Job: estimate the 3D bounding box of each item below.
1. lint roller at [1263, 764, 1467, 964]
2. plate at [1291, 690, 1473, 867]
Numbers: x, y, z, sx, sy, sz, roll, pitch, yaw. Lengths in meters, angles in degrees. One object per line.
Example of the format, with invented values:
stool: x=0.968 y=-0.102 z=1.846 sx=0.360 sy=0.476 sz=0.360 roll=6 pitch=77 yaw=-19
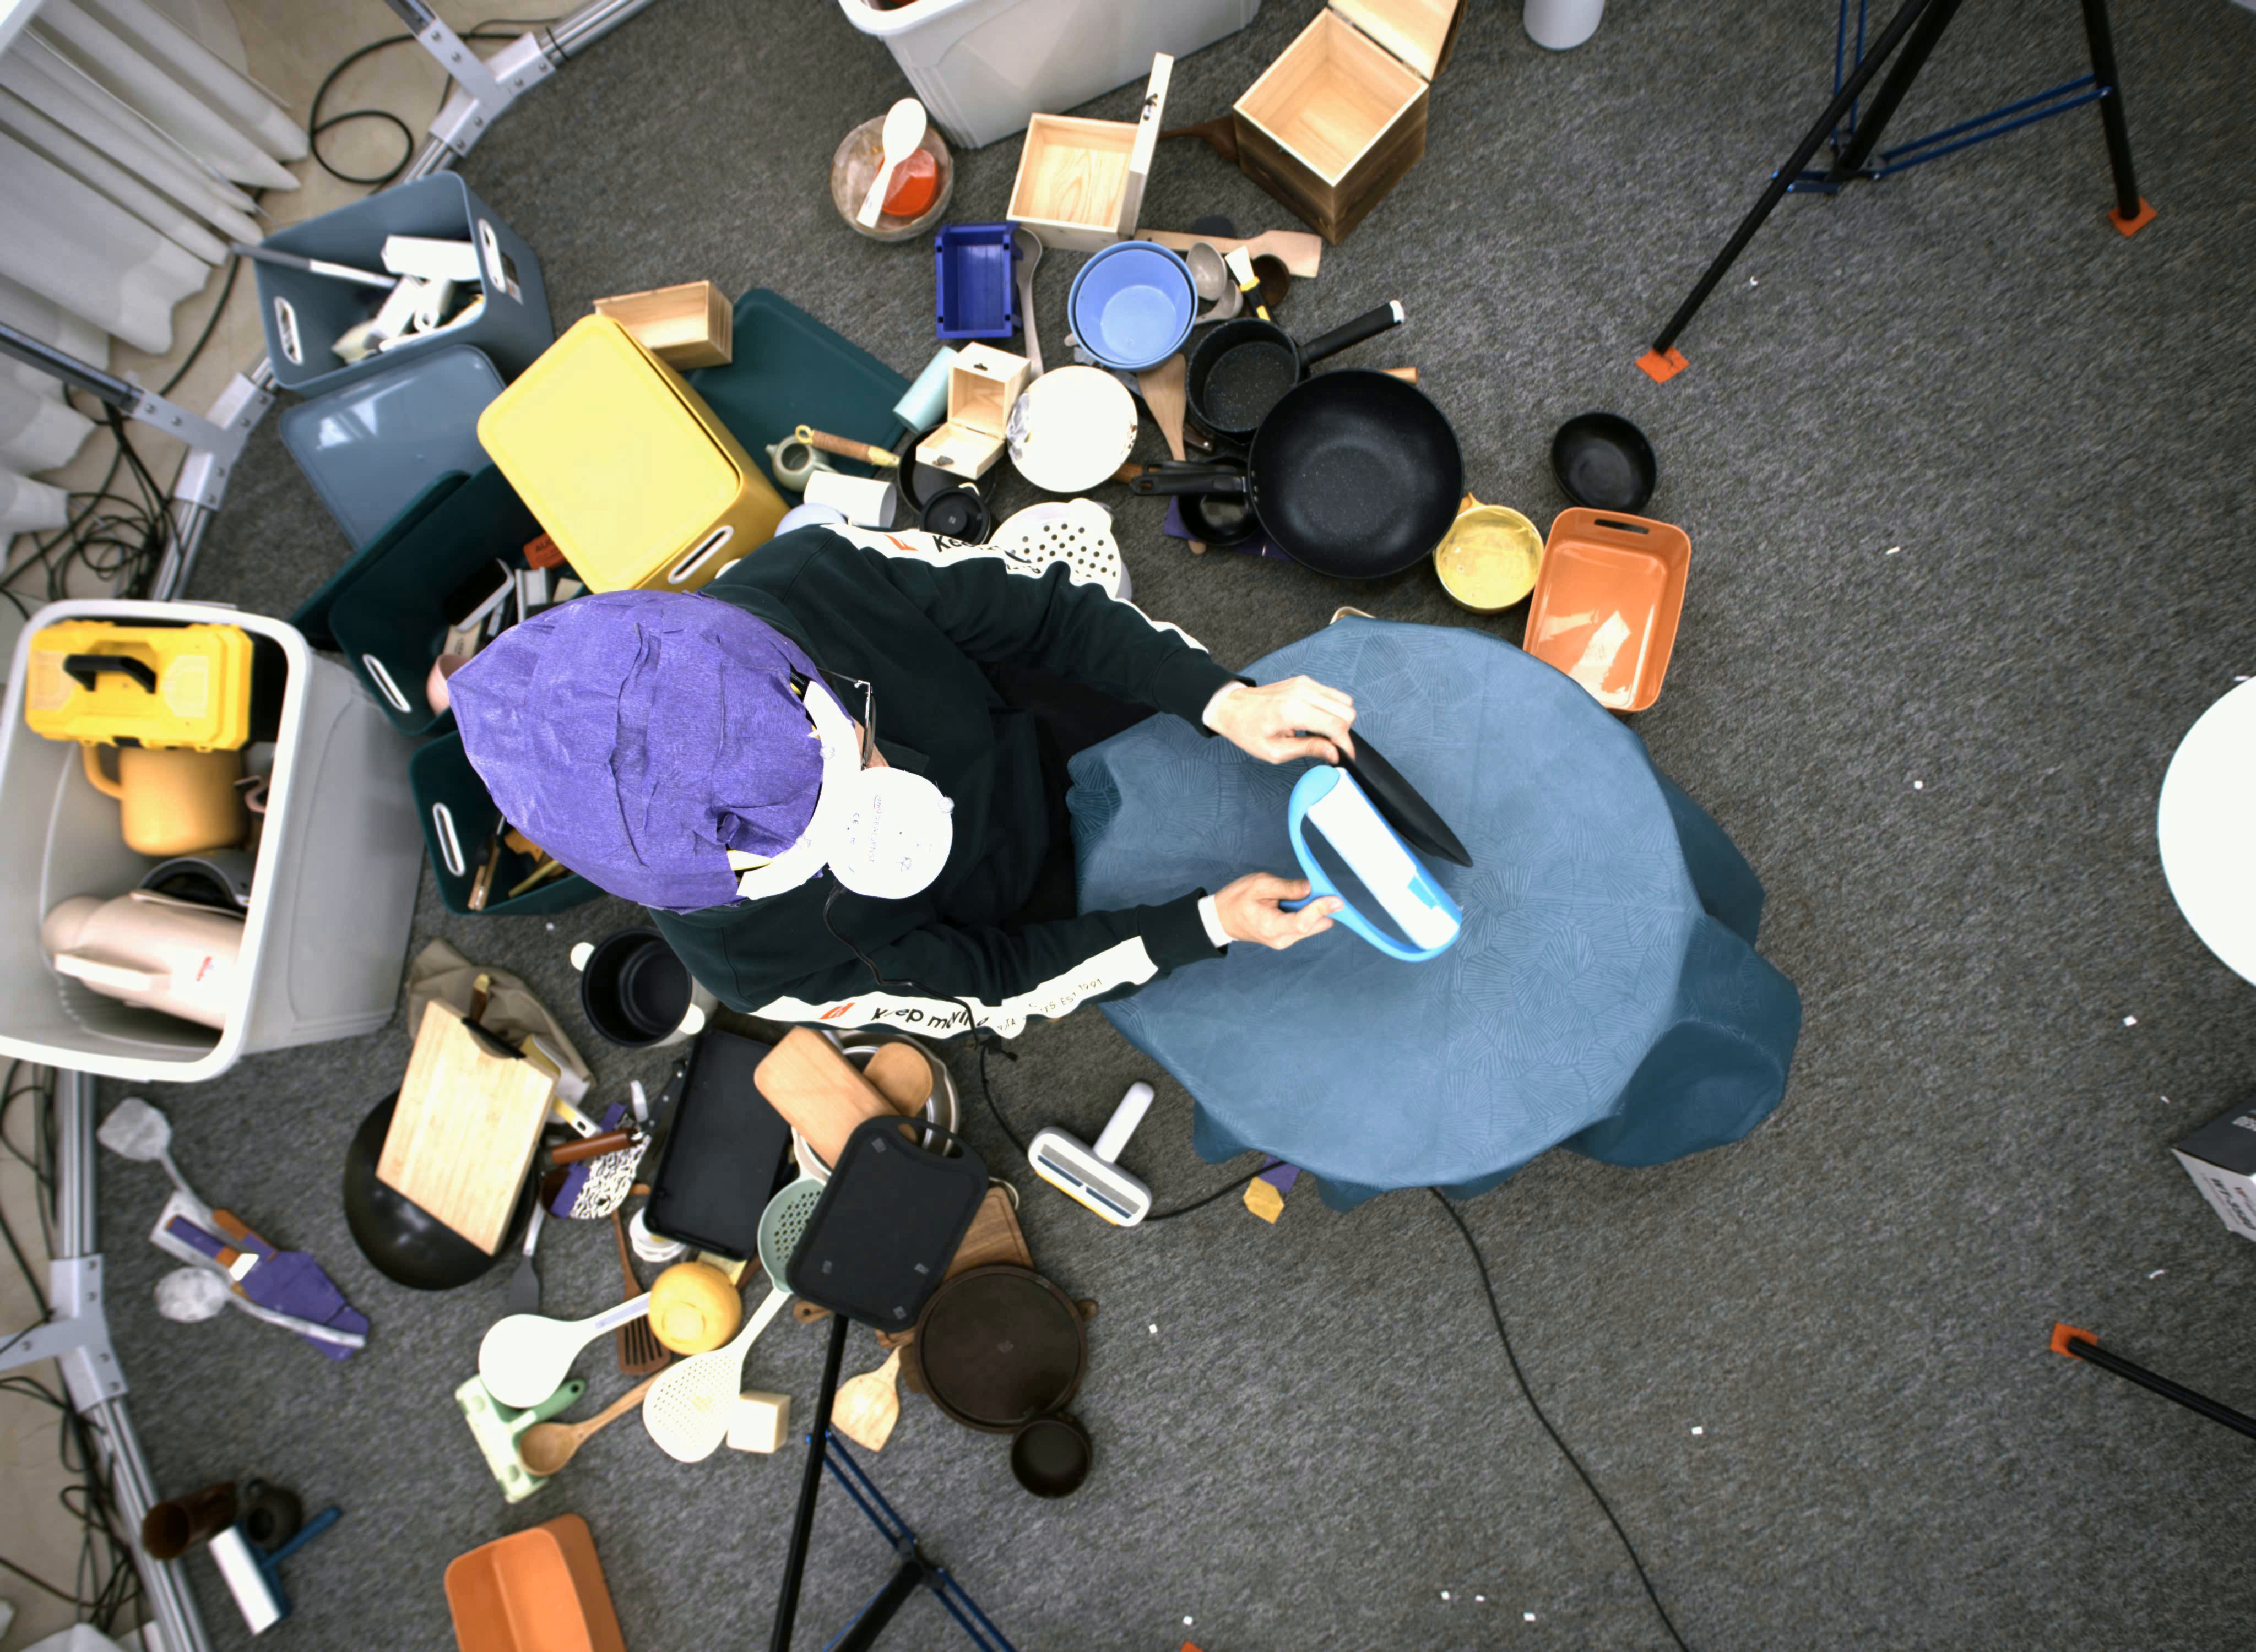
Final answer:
lint roller: x=0.195 y=0.055 z=1.304 sx=0.184 sy=0.066 sz=0.231 roll=-29 pitch=114 yaw=39
plate: x=0.243 y=-0.043 z=1.348 sx=0.243 sy=0.242 sz=0.024 roll=46 pitch=106 yaw=10
